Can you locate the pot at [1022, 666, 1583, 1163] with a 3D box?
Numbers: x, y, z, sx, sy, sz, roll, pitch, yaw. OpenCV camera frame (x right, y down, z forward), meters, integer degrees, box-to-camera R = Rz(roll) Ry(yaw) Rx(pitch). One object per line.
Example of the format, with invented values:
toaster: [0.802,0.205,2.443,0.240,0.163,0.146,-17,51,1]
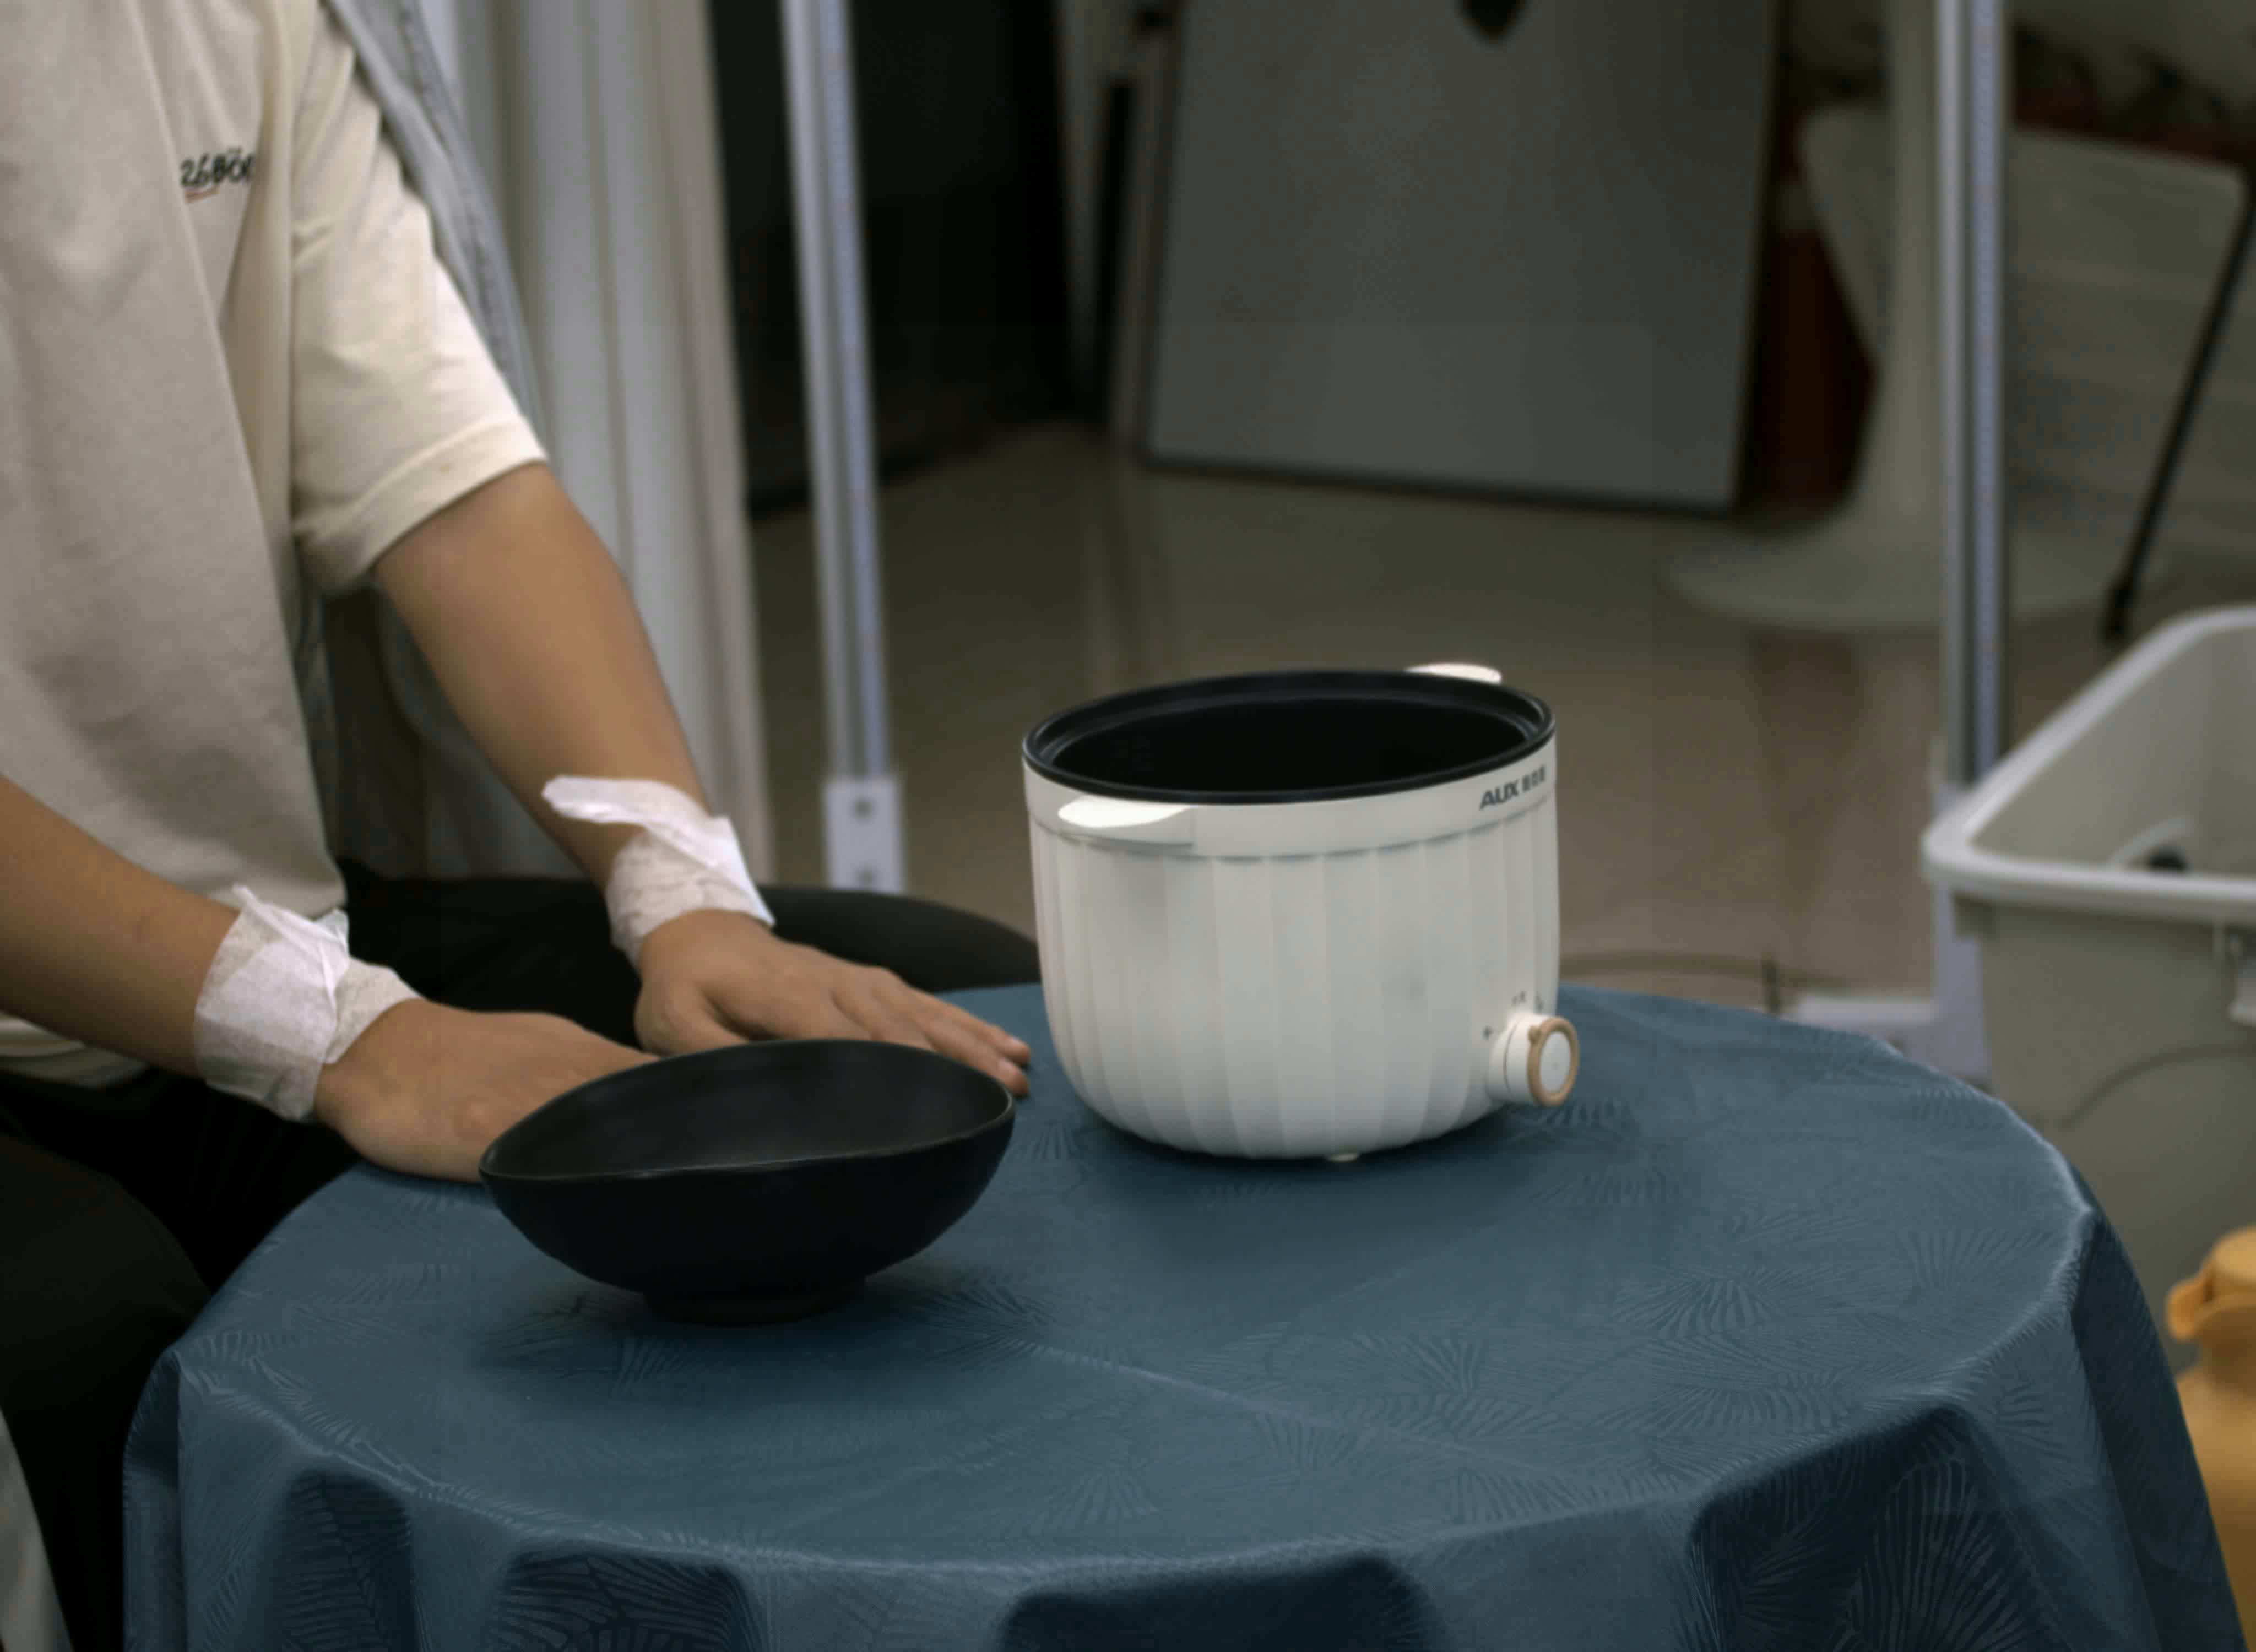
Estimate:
pot: [0.063,0.032,1.830,0.191,0.144,0.236,2,15,36]

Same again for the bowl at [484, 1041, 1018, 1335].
bowl: [-0.116,0.118,1.688,0.168,0.067,0.137,-5,12,-1]
